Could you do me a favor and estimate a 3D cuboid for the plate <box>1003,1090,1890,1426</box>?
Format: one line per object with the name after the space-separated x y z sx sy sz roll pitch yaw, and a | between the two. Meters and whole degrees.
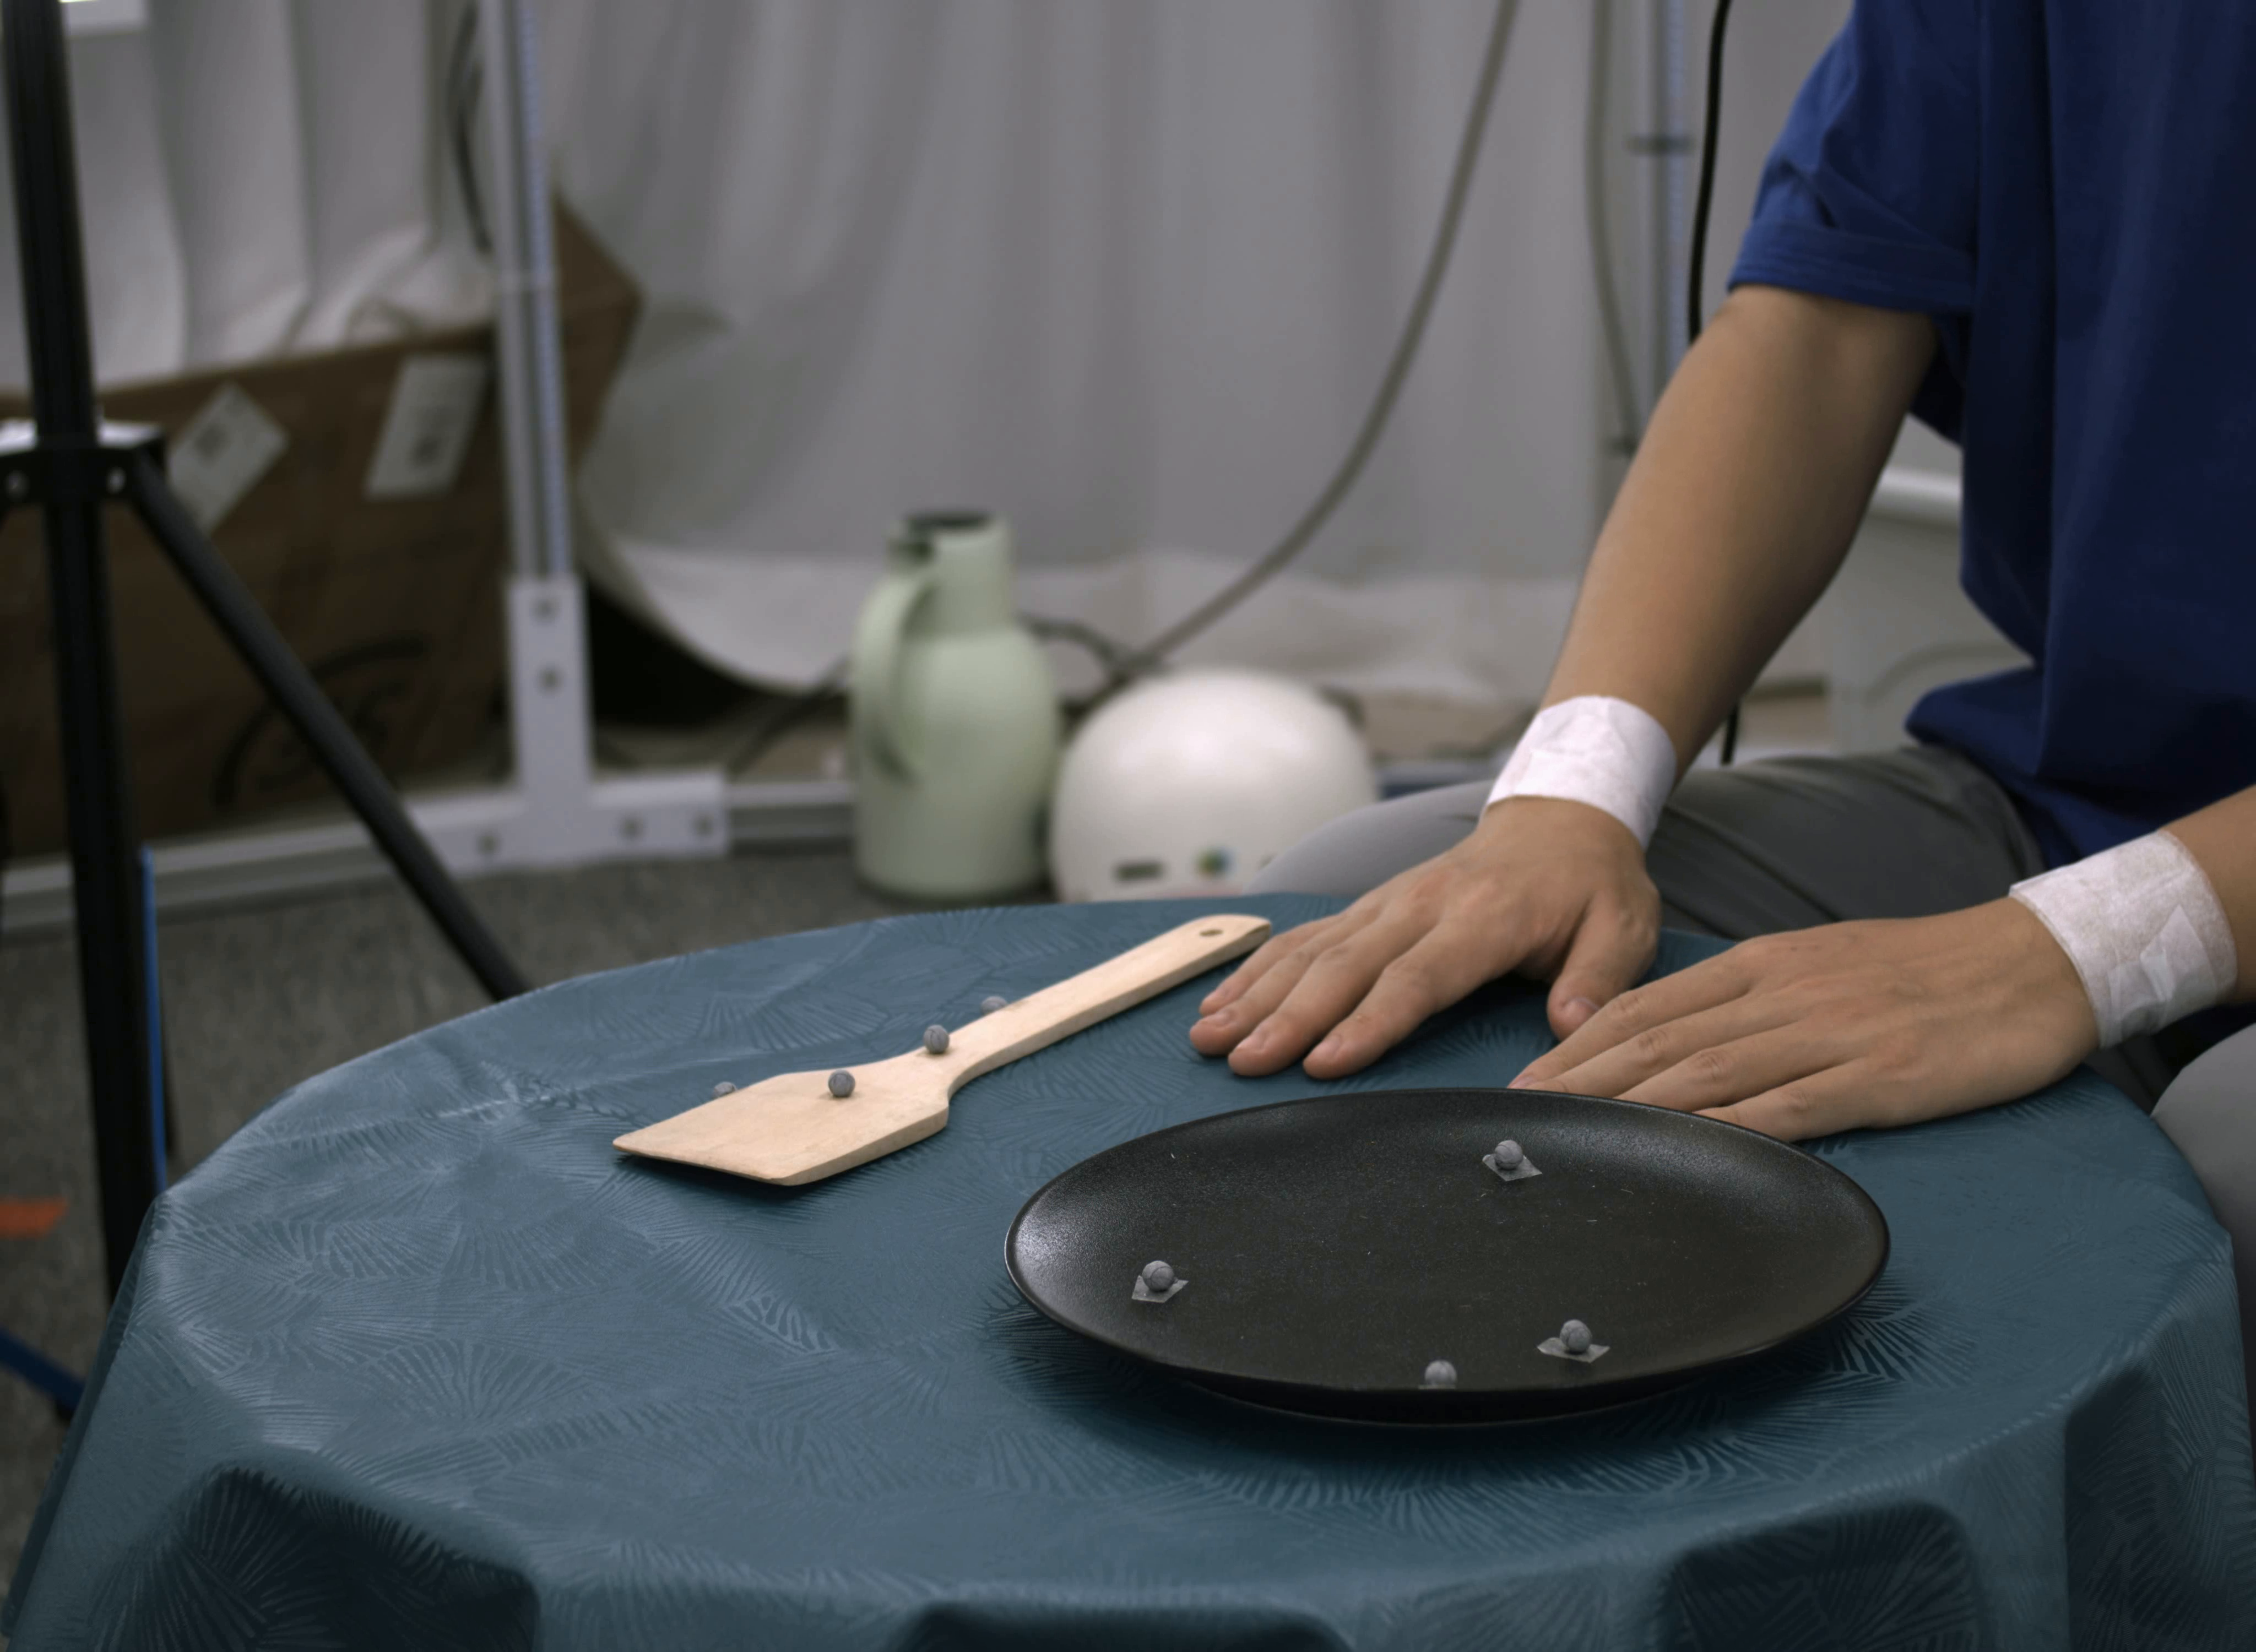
0.087 0.121 1.456 0.243 0.023 0.245 -3 16 -1 | plate

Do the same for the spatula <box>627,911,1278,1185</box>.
-0.042 0.067 1.692 0.074 0.010 0.287 8 19 36 | spatula
